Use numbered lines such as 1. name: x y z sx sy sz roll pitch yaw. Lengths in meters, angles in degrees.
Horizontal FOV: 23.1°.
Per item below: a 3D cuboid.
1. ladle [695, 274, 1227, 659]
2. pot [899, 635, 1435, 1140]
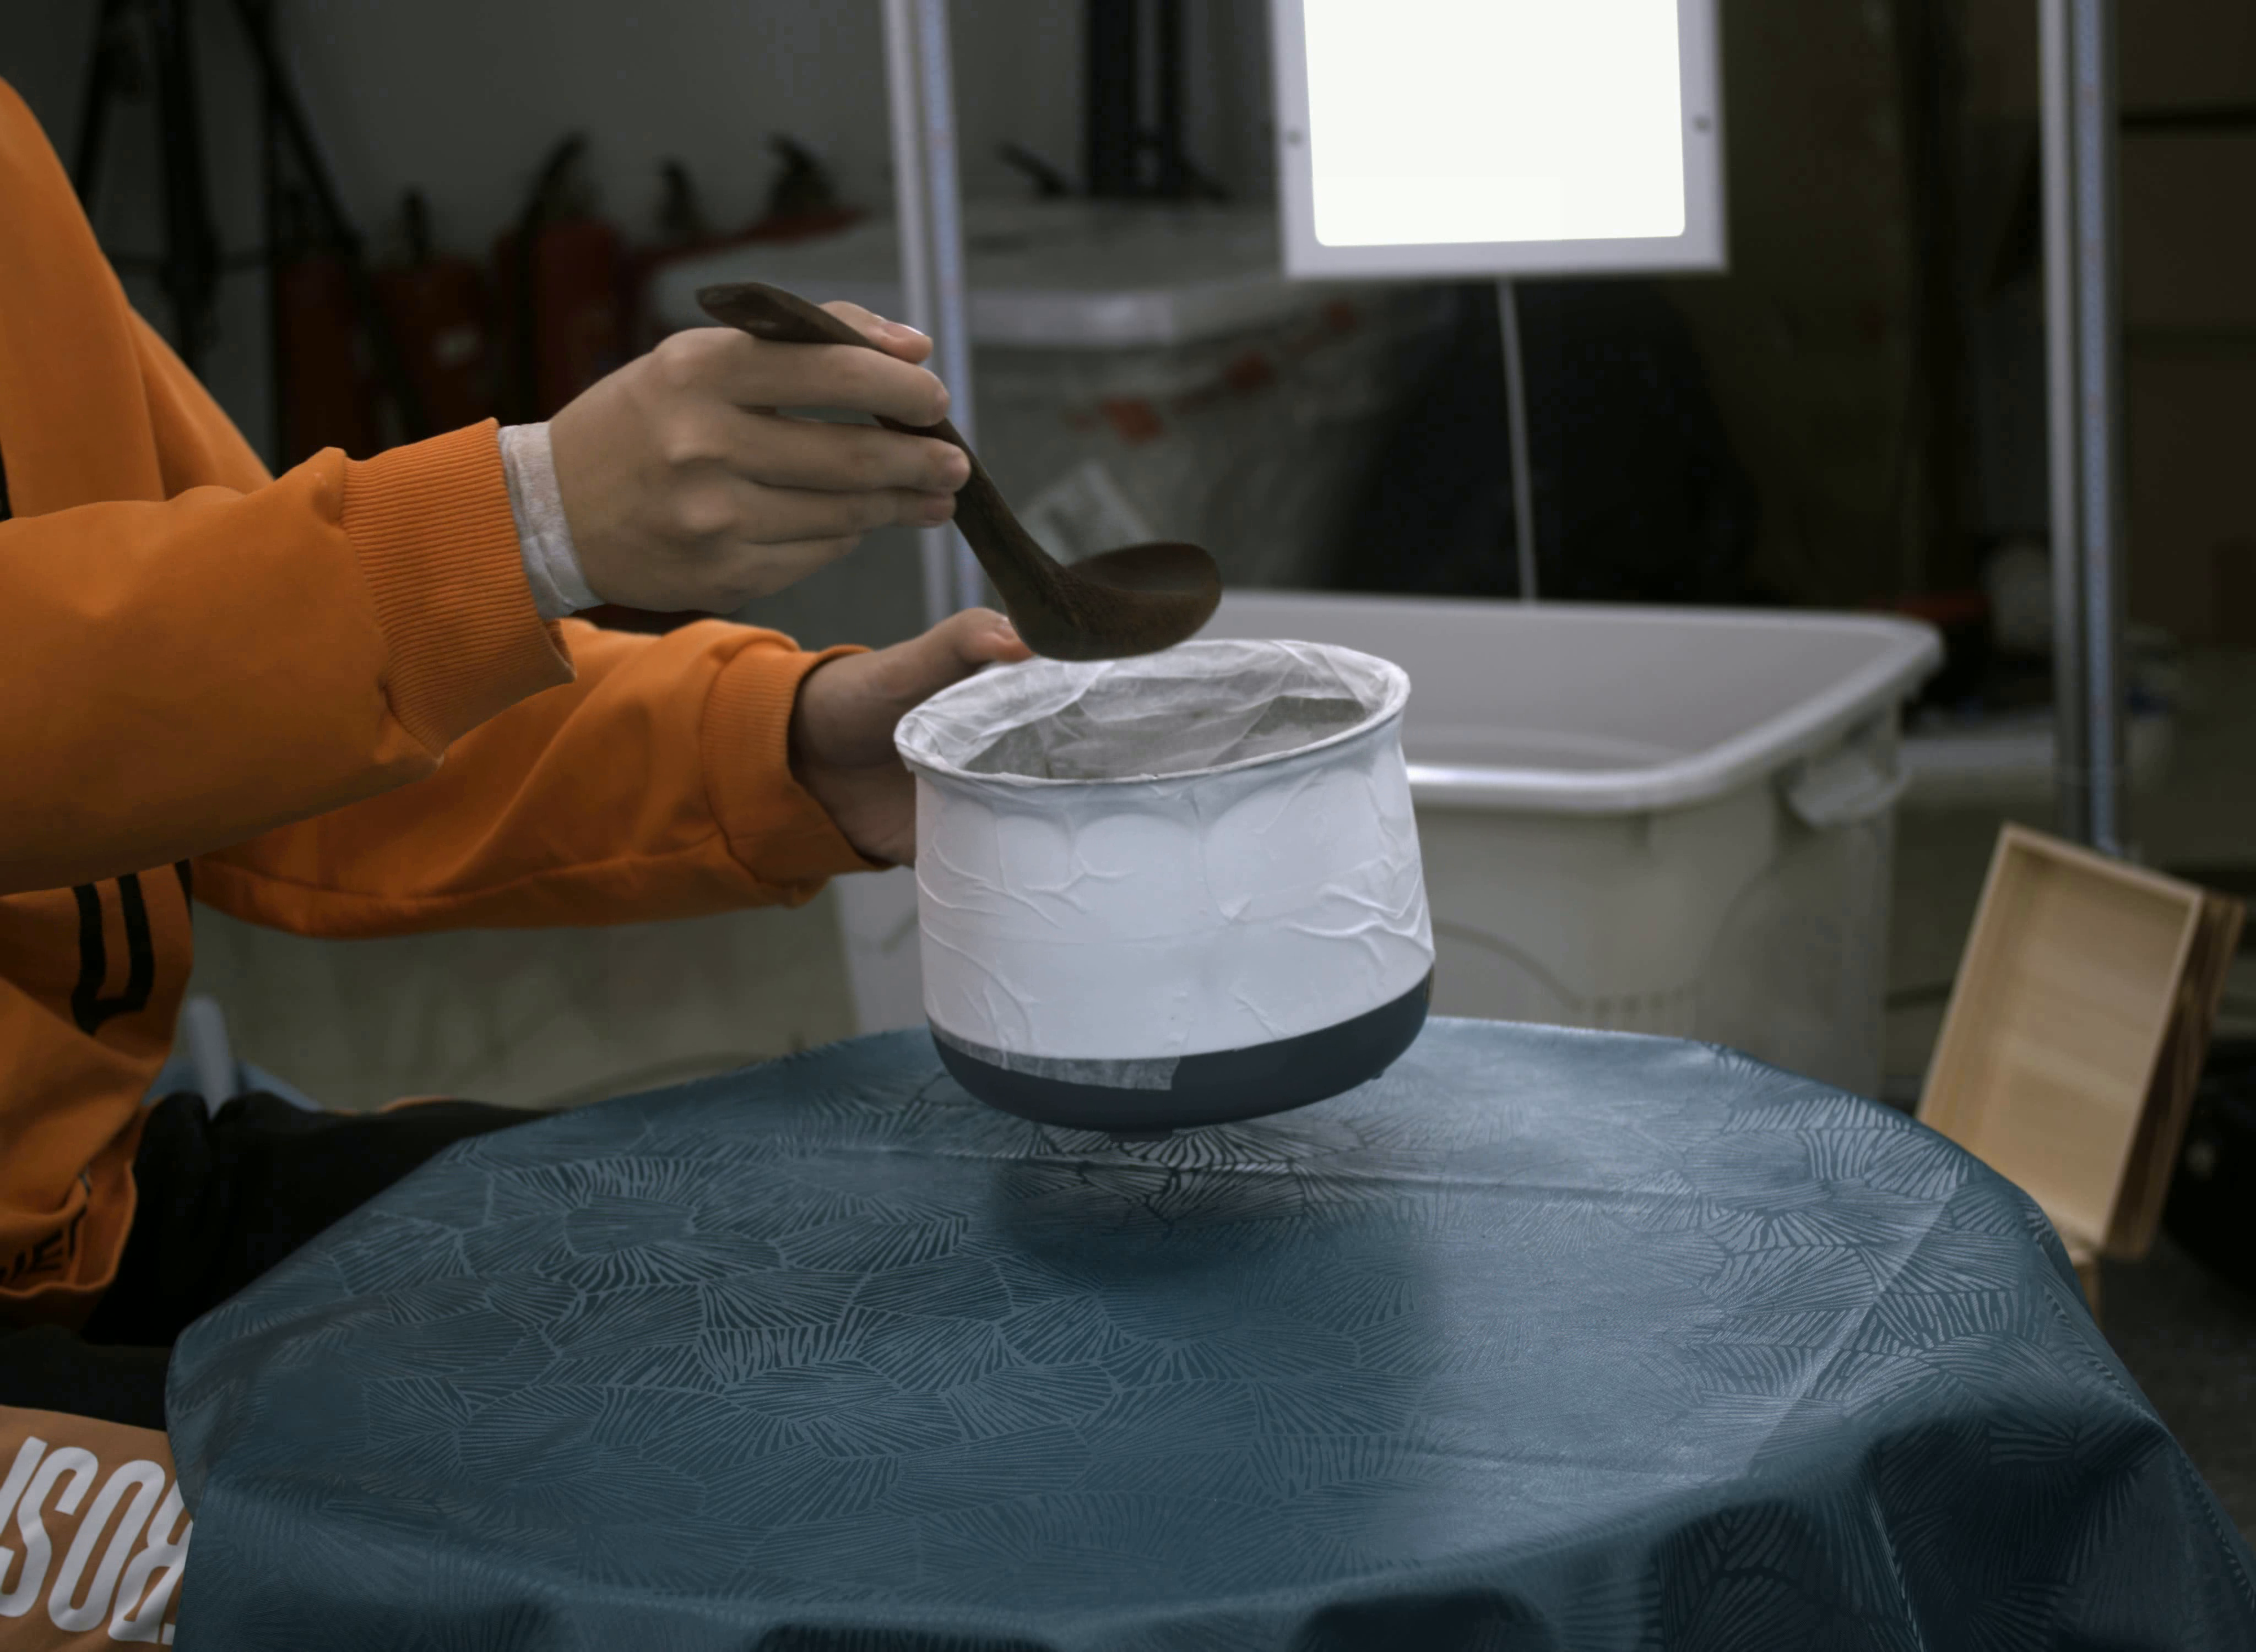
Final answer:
1. ladle: -0.053 -0.128 1.741 0.077 0.071 0.270 -7 -31 28
2. pot: 0.000 0.014 1.904 0.175 0.137 0.238 -15 18 -29
